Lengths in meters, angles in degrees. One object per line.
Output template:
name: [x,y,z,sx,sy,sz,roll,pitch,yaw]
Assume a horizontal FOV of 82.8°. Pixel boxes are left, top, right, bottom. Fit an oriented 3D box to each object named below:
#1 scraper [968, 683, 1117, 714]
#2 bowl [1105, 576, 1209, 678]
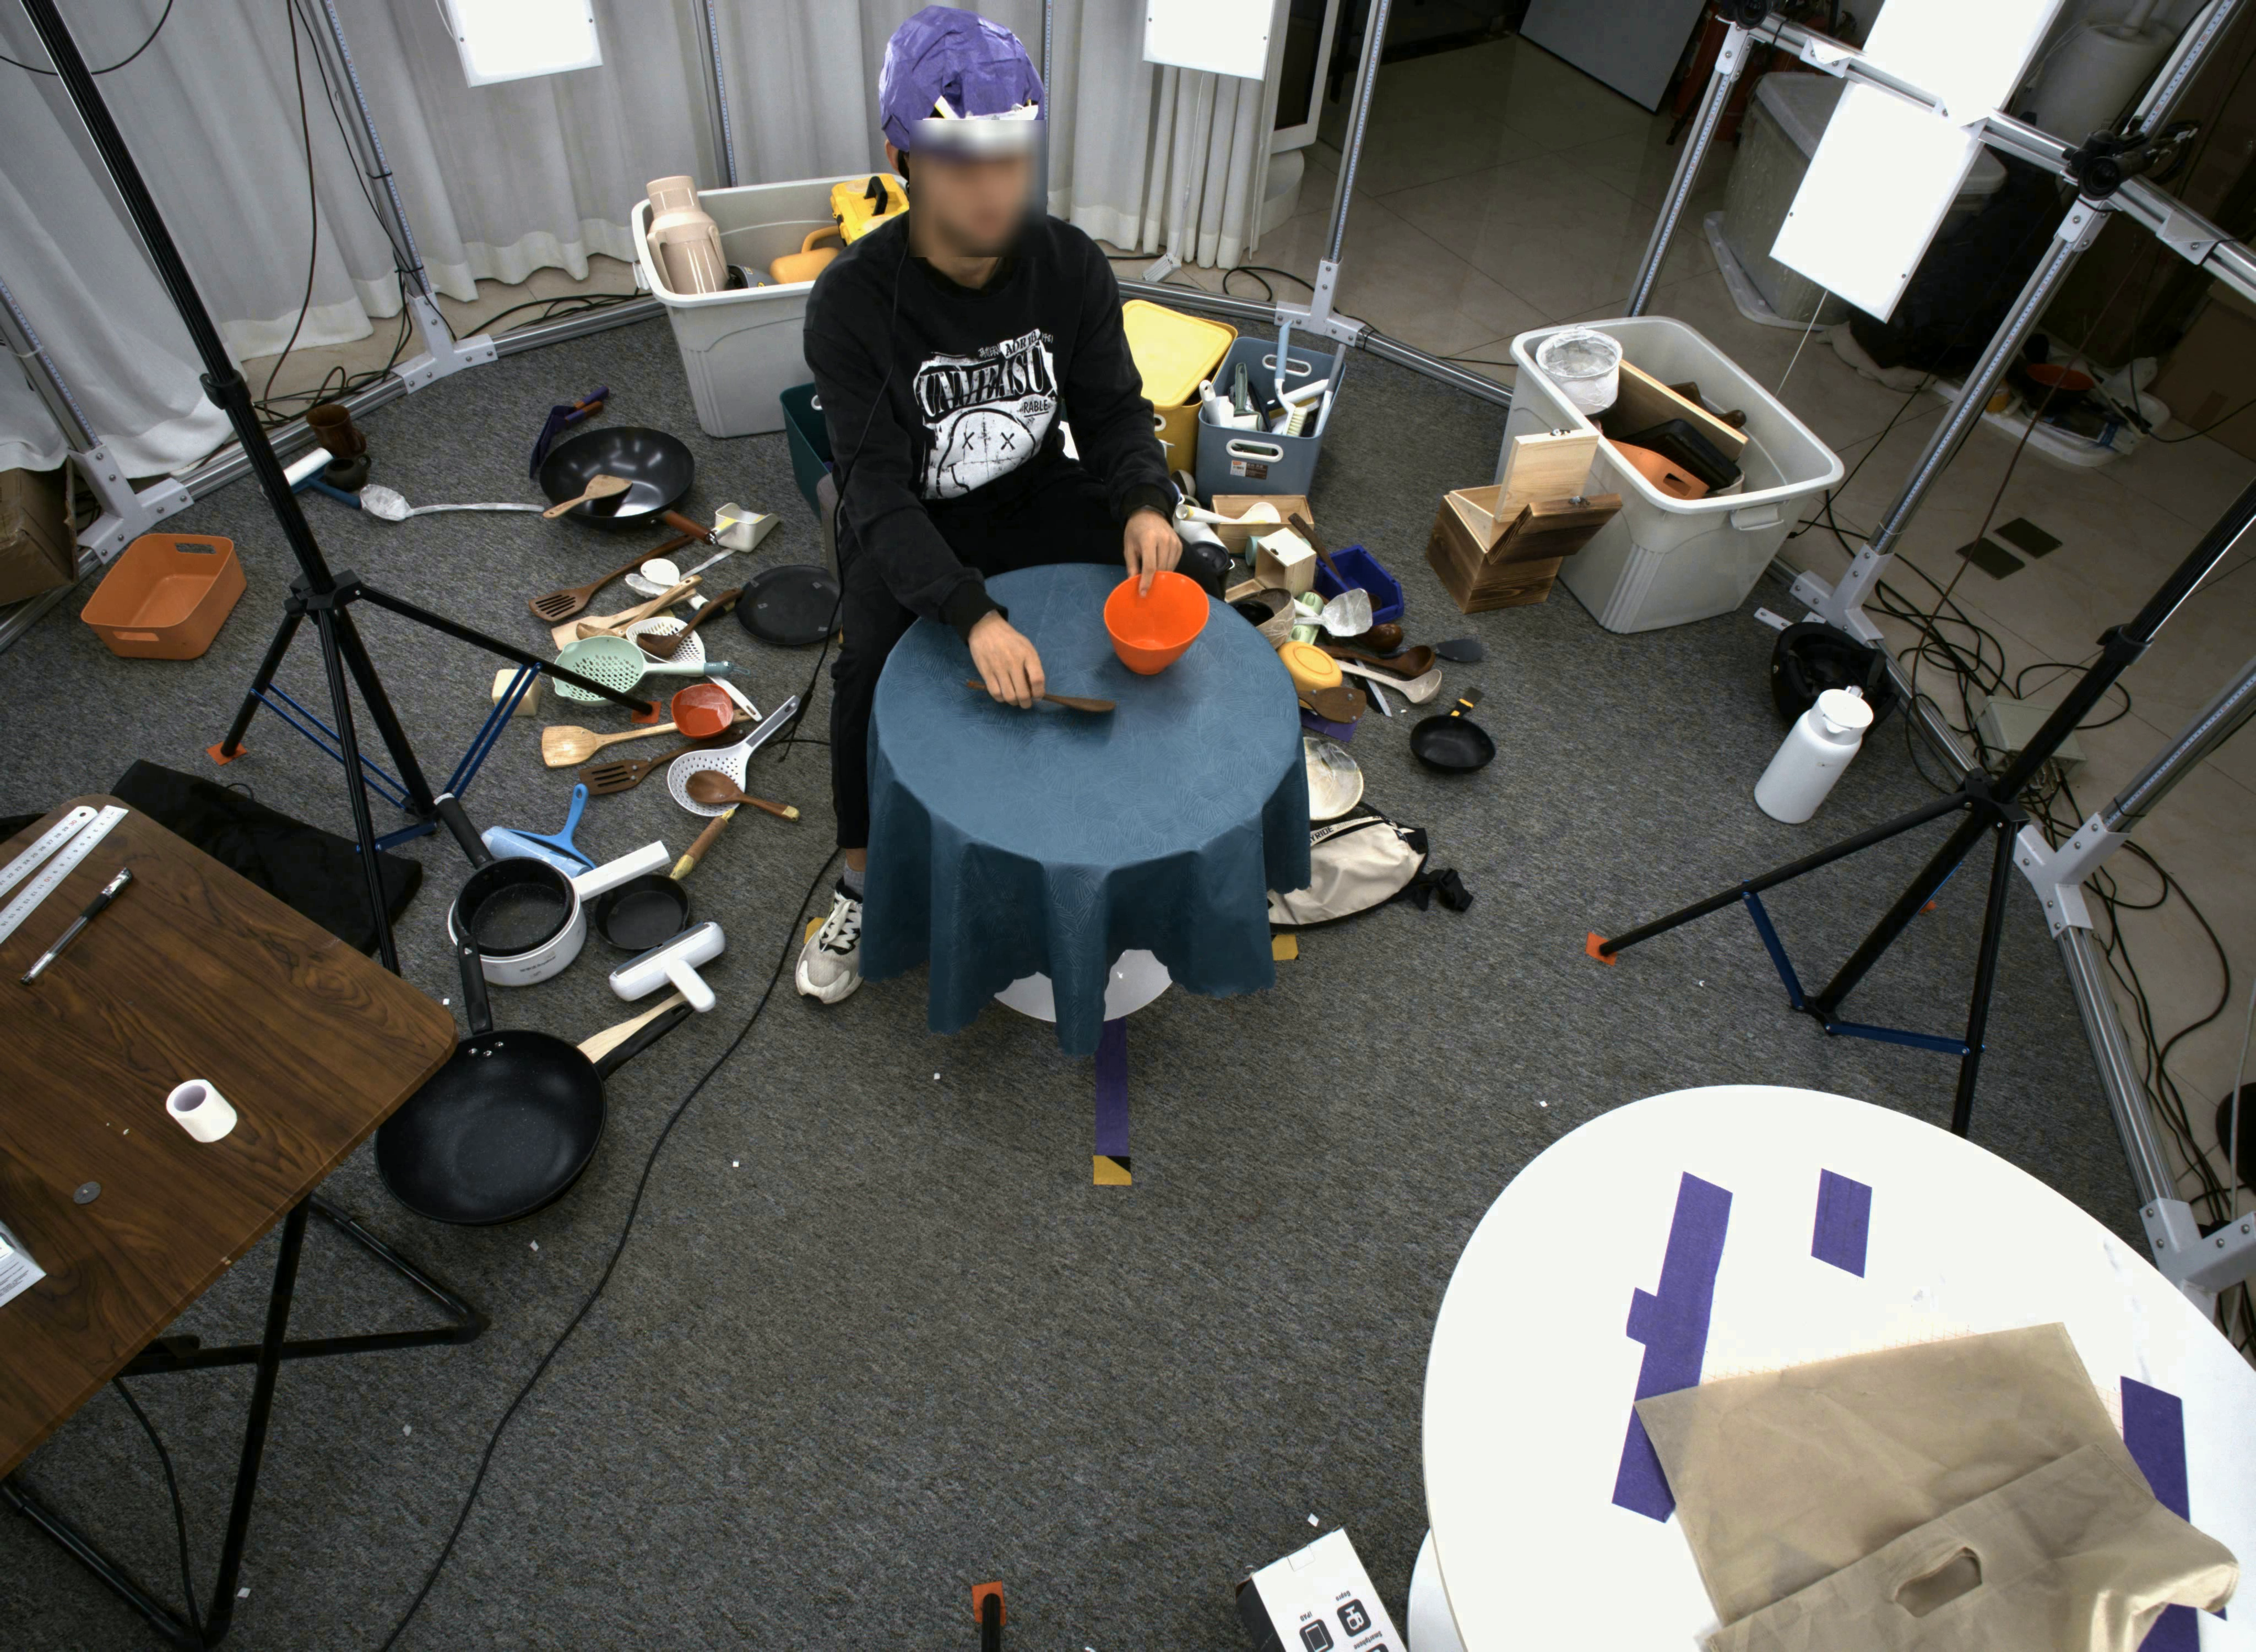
scraper: [-0.120,-0.180,1.801,0.211,0.010,0.077,9,17,1]
bowl: [0.039,-0.278,1.864,0.148,0.102,0.152,2,50,-3]
